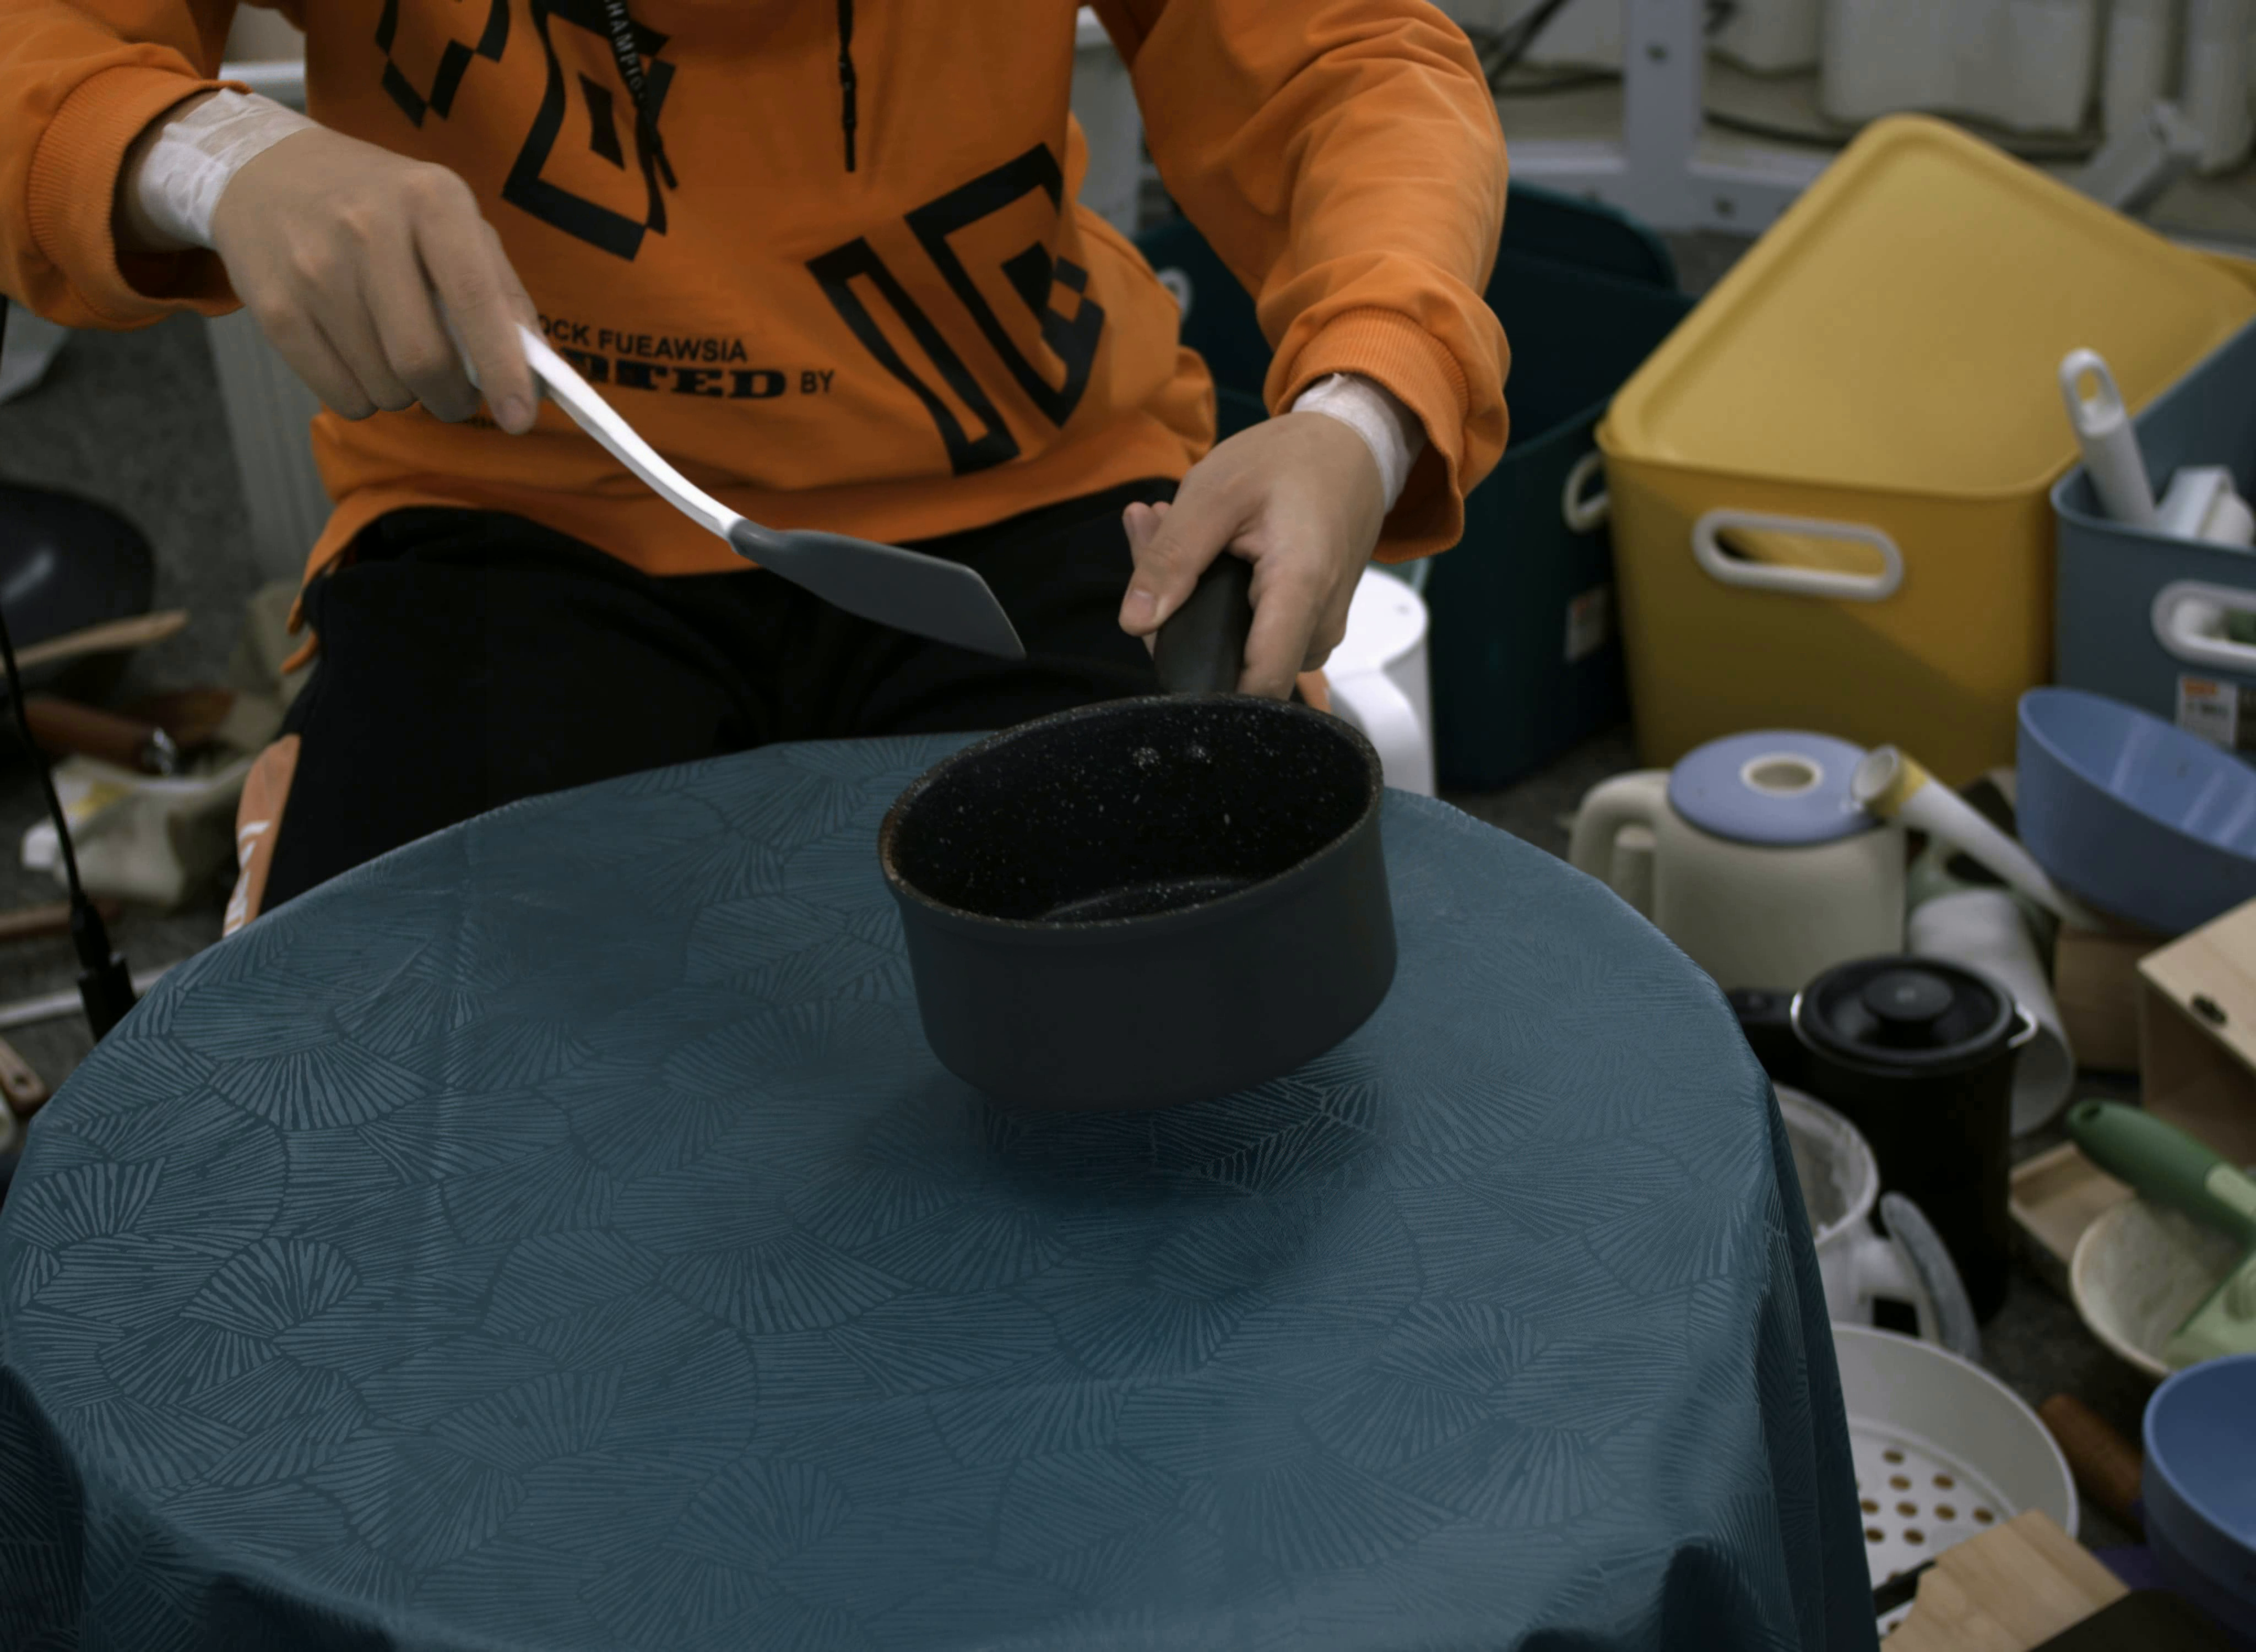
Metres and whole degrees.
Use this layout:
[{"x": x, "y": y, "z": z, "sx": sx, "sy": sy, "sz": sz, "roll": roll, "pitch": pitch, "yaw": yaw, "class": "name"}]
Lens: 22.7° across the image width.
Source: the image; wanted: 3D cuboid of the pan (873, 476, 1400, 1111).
[{"x": 0.020, "y": -0.014, "z": 1.954, "sx": 0.170, "sy": 0.085, "sz": 0.334, "roll": -2, "pitch": 27, "yaw": 14, "class": "pan"}]

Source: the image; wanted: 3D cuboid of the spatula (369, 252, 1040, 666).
[{"x": -0.145, "y": -0.120, "z": 1.891, "sx": 0.288, "sy": 0.058, "sz": 0.032, "roll": 31, "pitch": 67, "yaw": 29, "class": "spatula"}]
